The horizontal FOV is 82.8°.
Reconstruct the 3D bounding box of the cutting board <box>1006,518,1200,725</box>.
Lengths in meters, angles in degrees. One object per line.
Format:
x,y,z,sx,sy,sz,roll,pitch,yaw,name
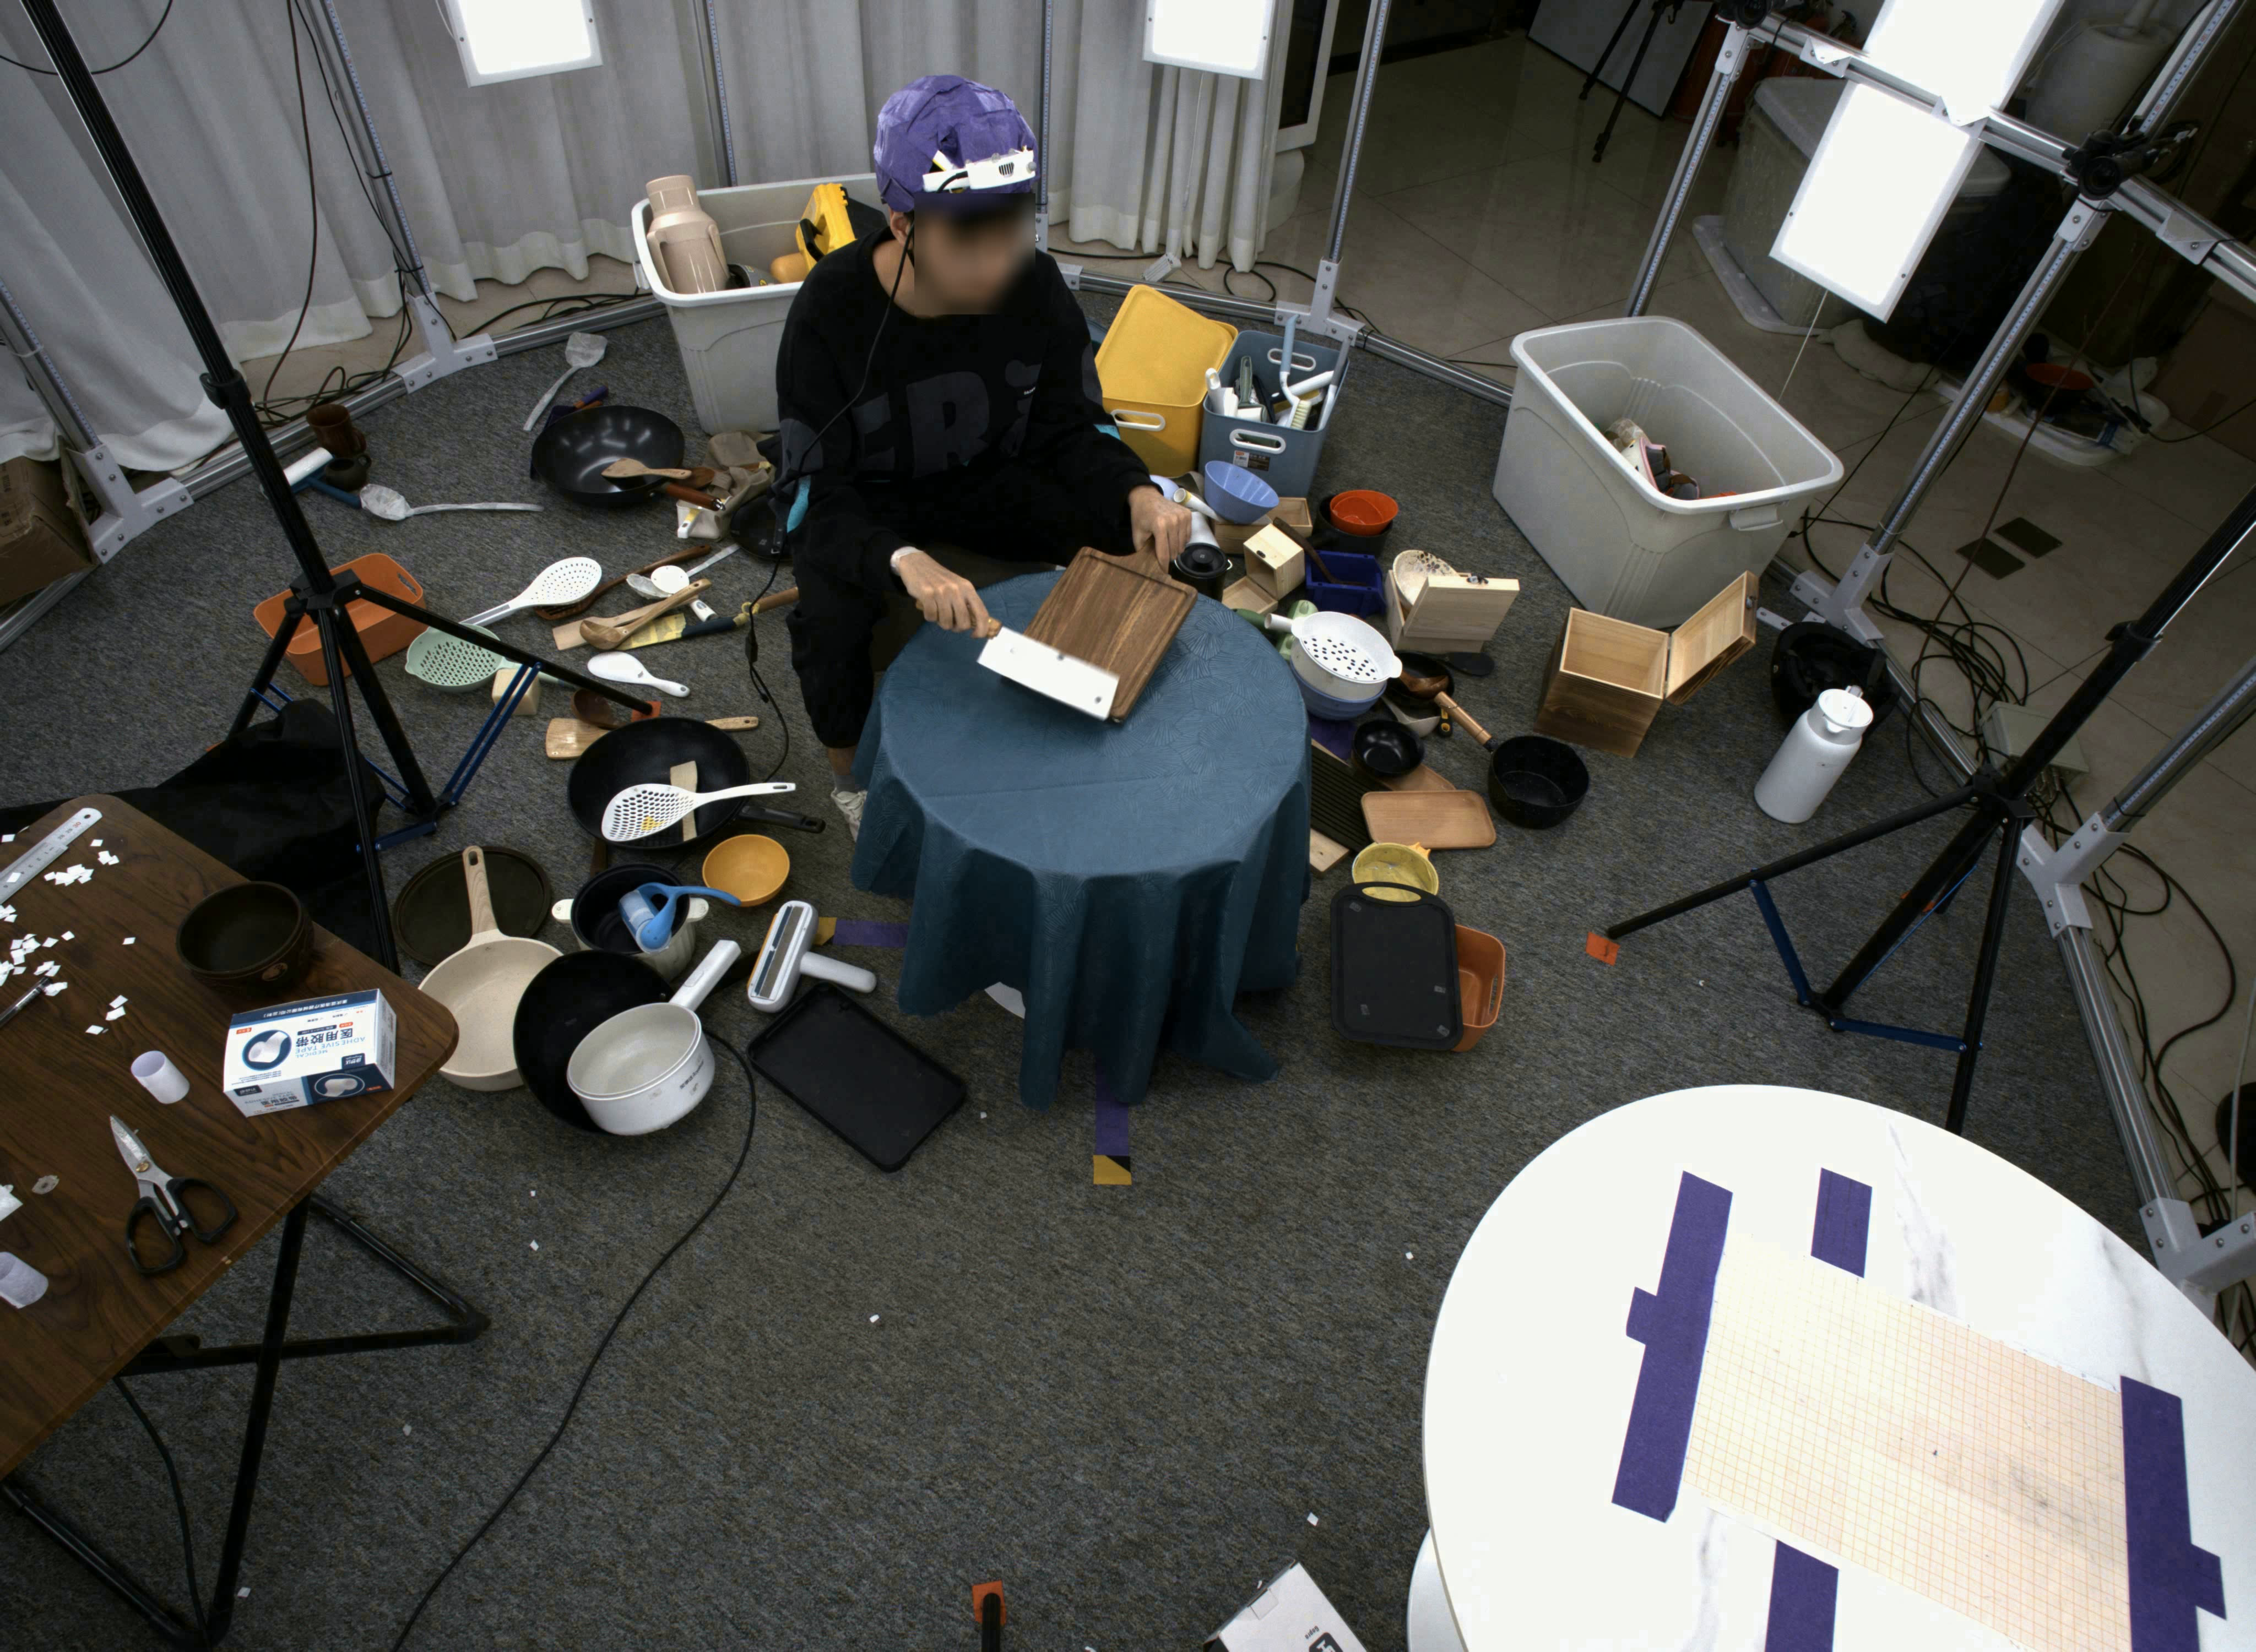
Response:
-0.012,-0.319,1.880,0.202,0.023,0.357,23,64,15,cutting board

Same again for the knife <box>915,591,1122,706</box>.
-0.153,-0.239,1.768,0.304,0.020,0.095,21,49,-8,knife
